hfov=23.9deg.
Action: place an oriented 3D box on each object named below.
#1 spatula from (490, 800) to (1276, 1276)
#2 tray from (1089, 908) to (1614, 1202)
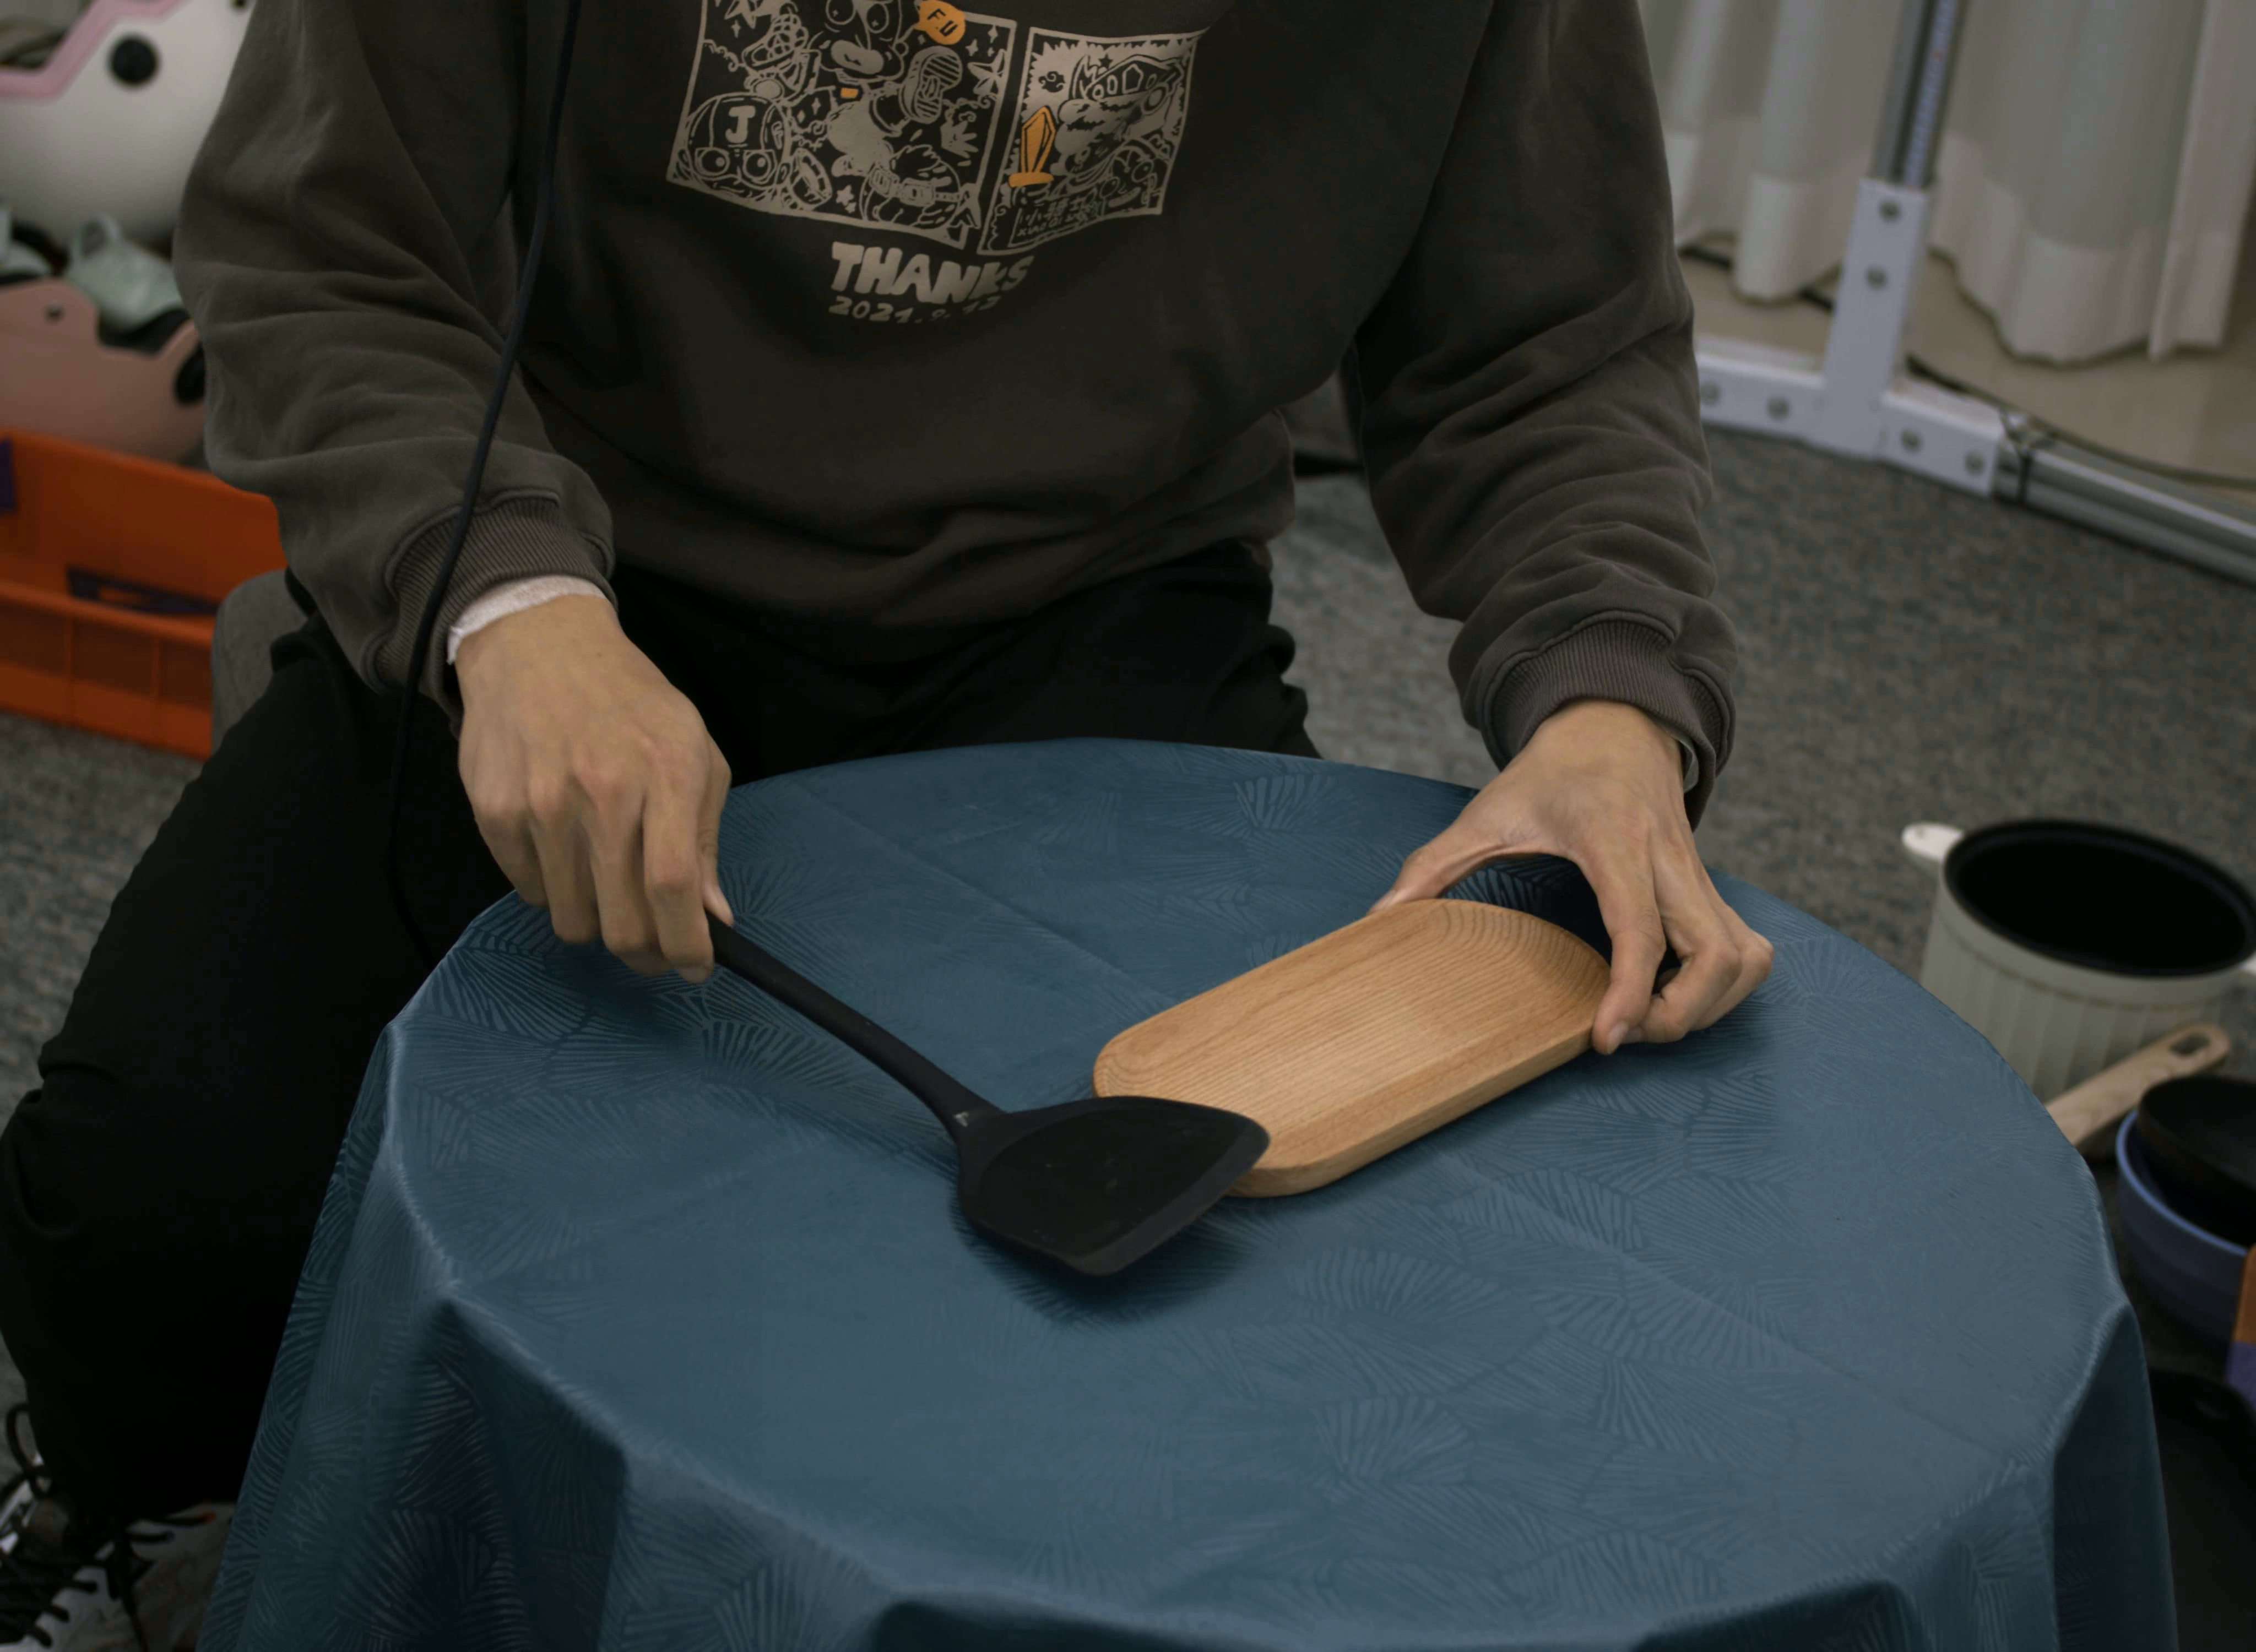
[{"bbox_3d":[-0.100,0.062,1.831,0.328,0.040,0.099,32,45,25],"label":"spatula"},{"bbox_3d":[0.081,0.080,1.887,0.102,0.020,0.230,28,36,35],"label":"tray"}]
